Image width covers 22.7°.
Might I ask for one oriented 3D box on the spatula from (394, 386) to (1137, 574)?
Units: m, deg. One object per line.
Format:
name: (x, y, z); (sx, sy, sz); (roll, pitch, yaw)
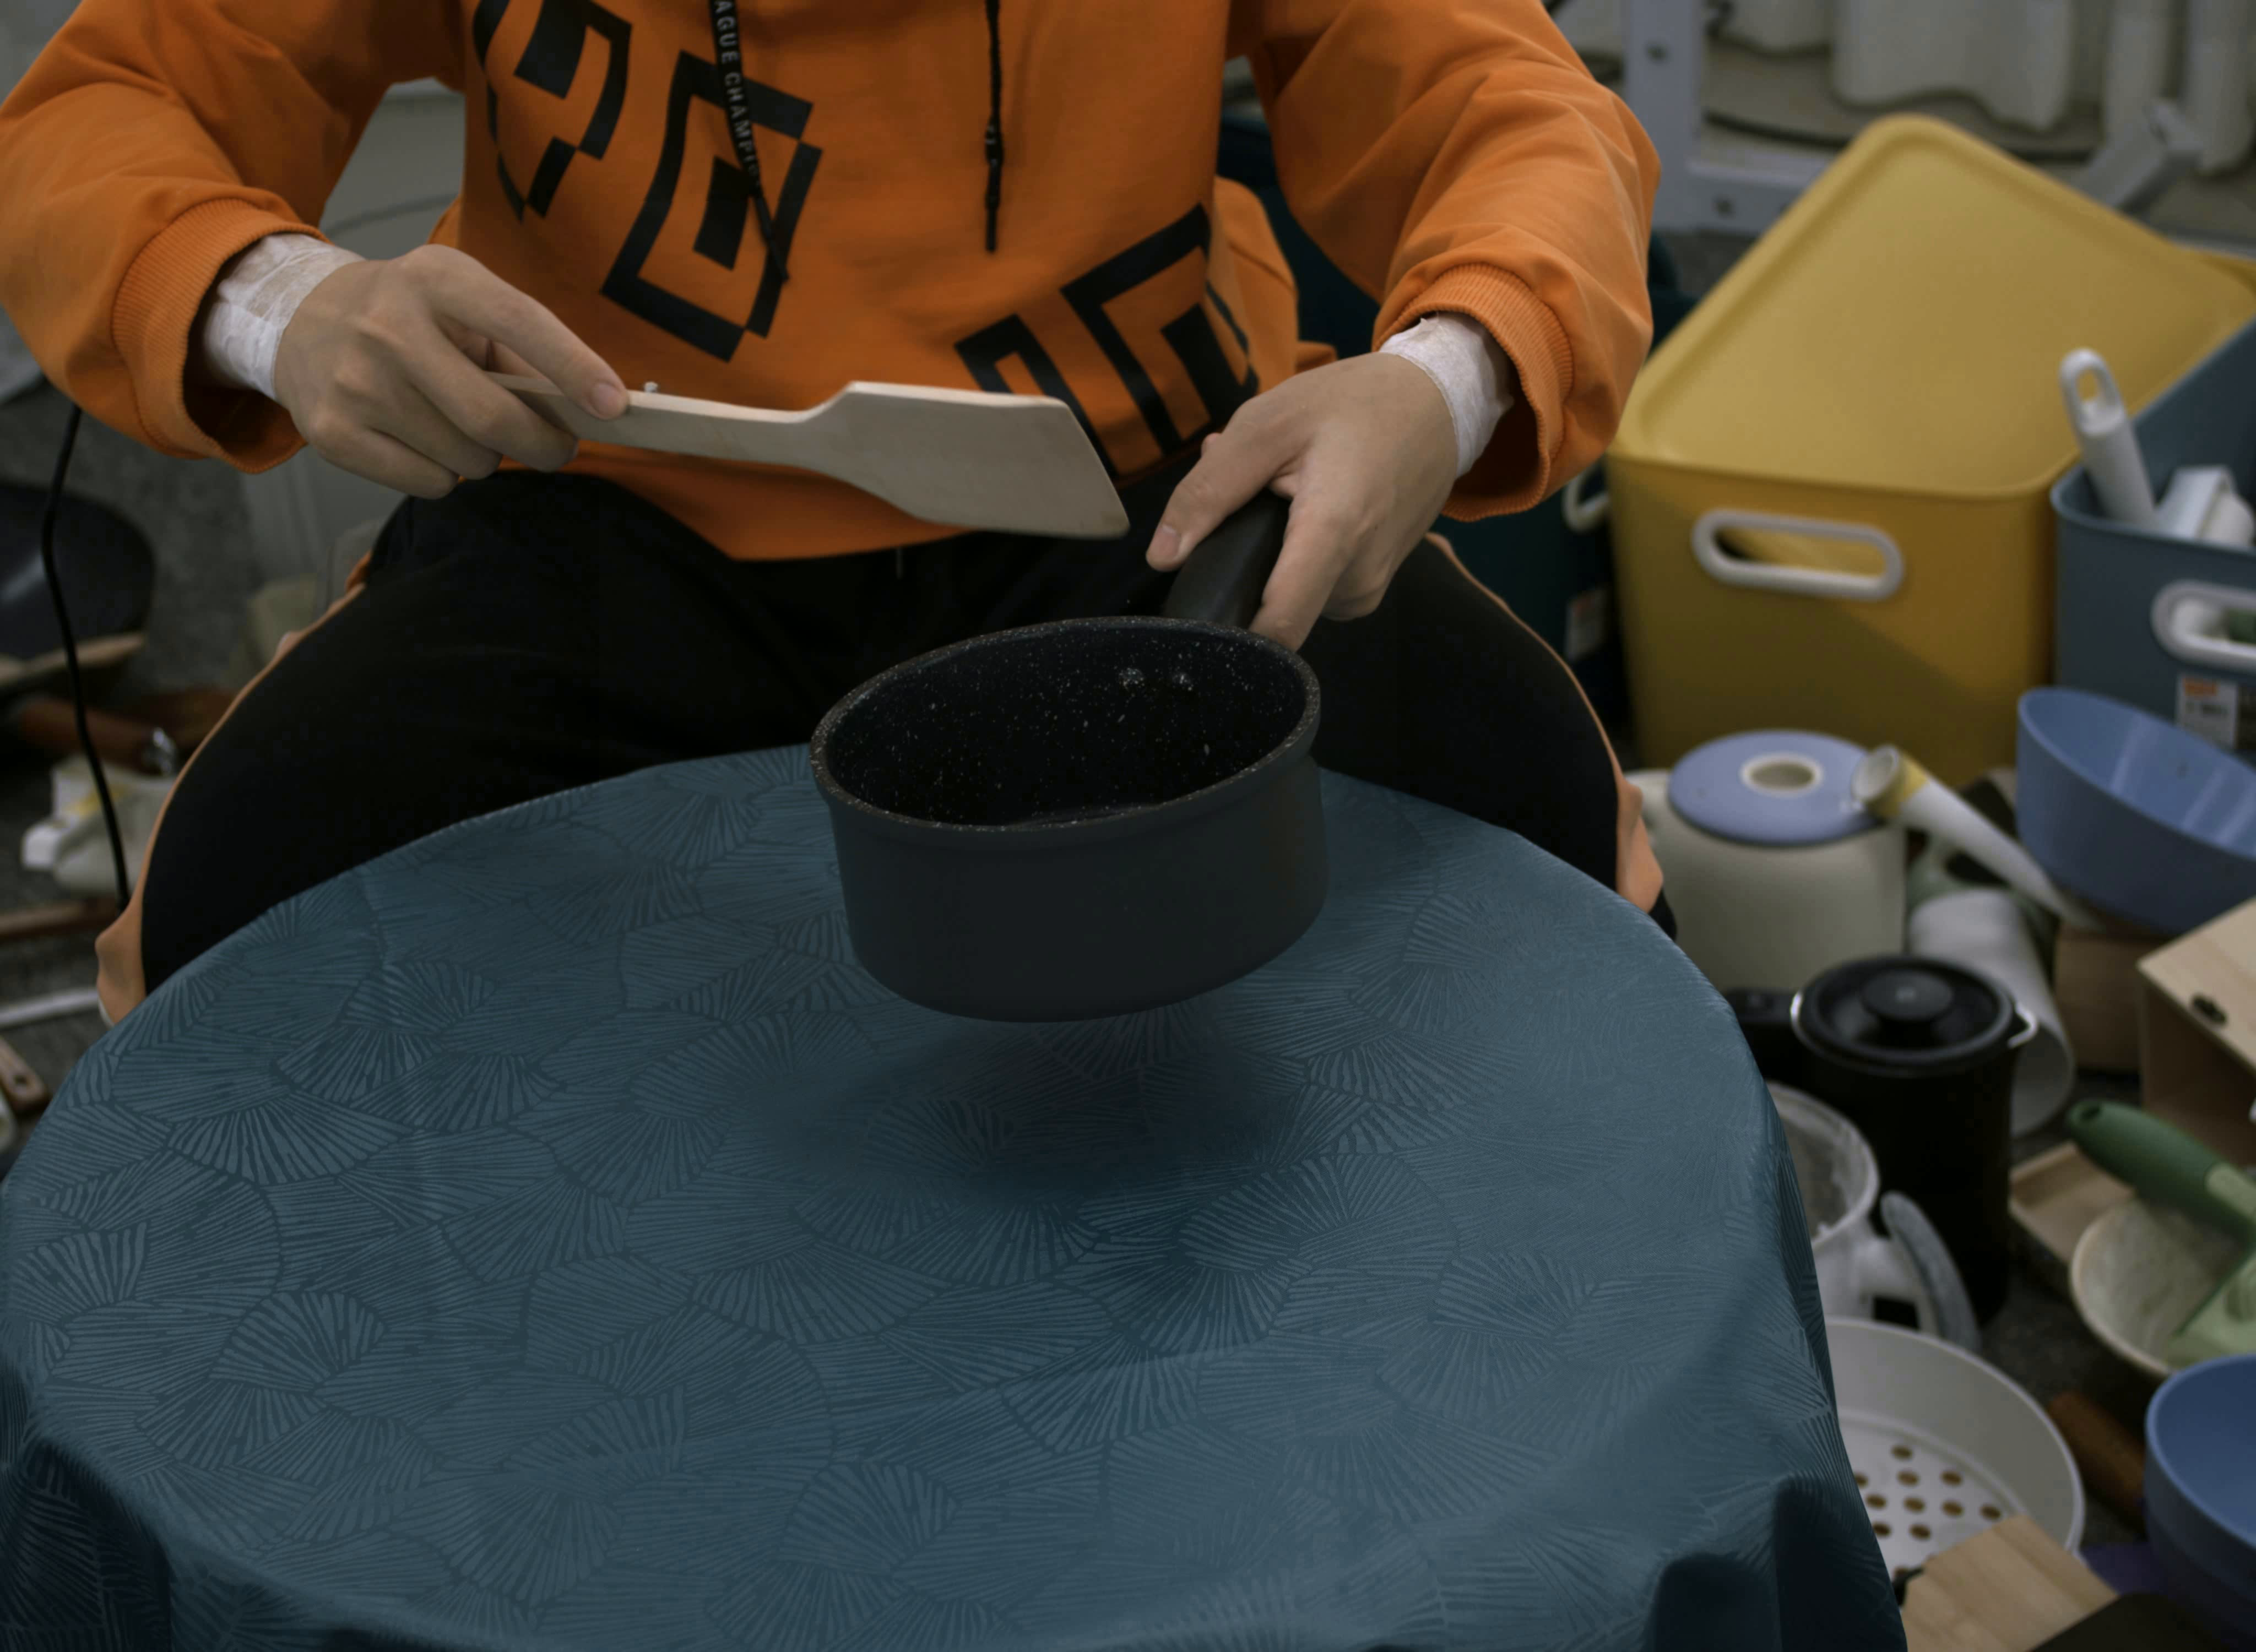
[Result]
spatula: (-0.133, -0.126, 1.933); (0.291, 0.071, 0.011); (10, 57, 28)

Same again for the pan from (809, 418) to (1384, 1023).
pan: (0.015, -0.039, 1.942); (0.170, 0.085, 0.334); (5, 28, 24)
